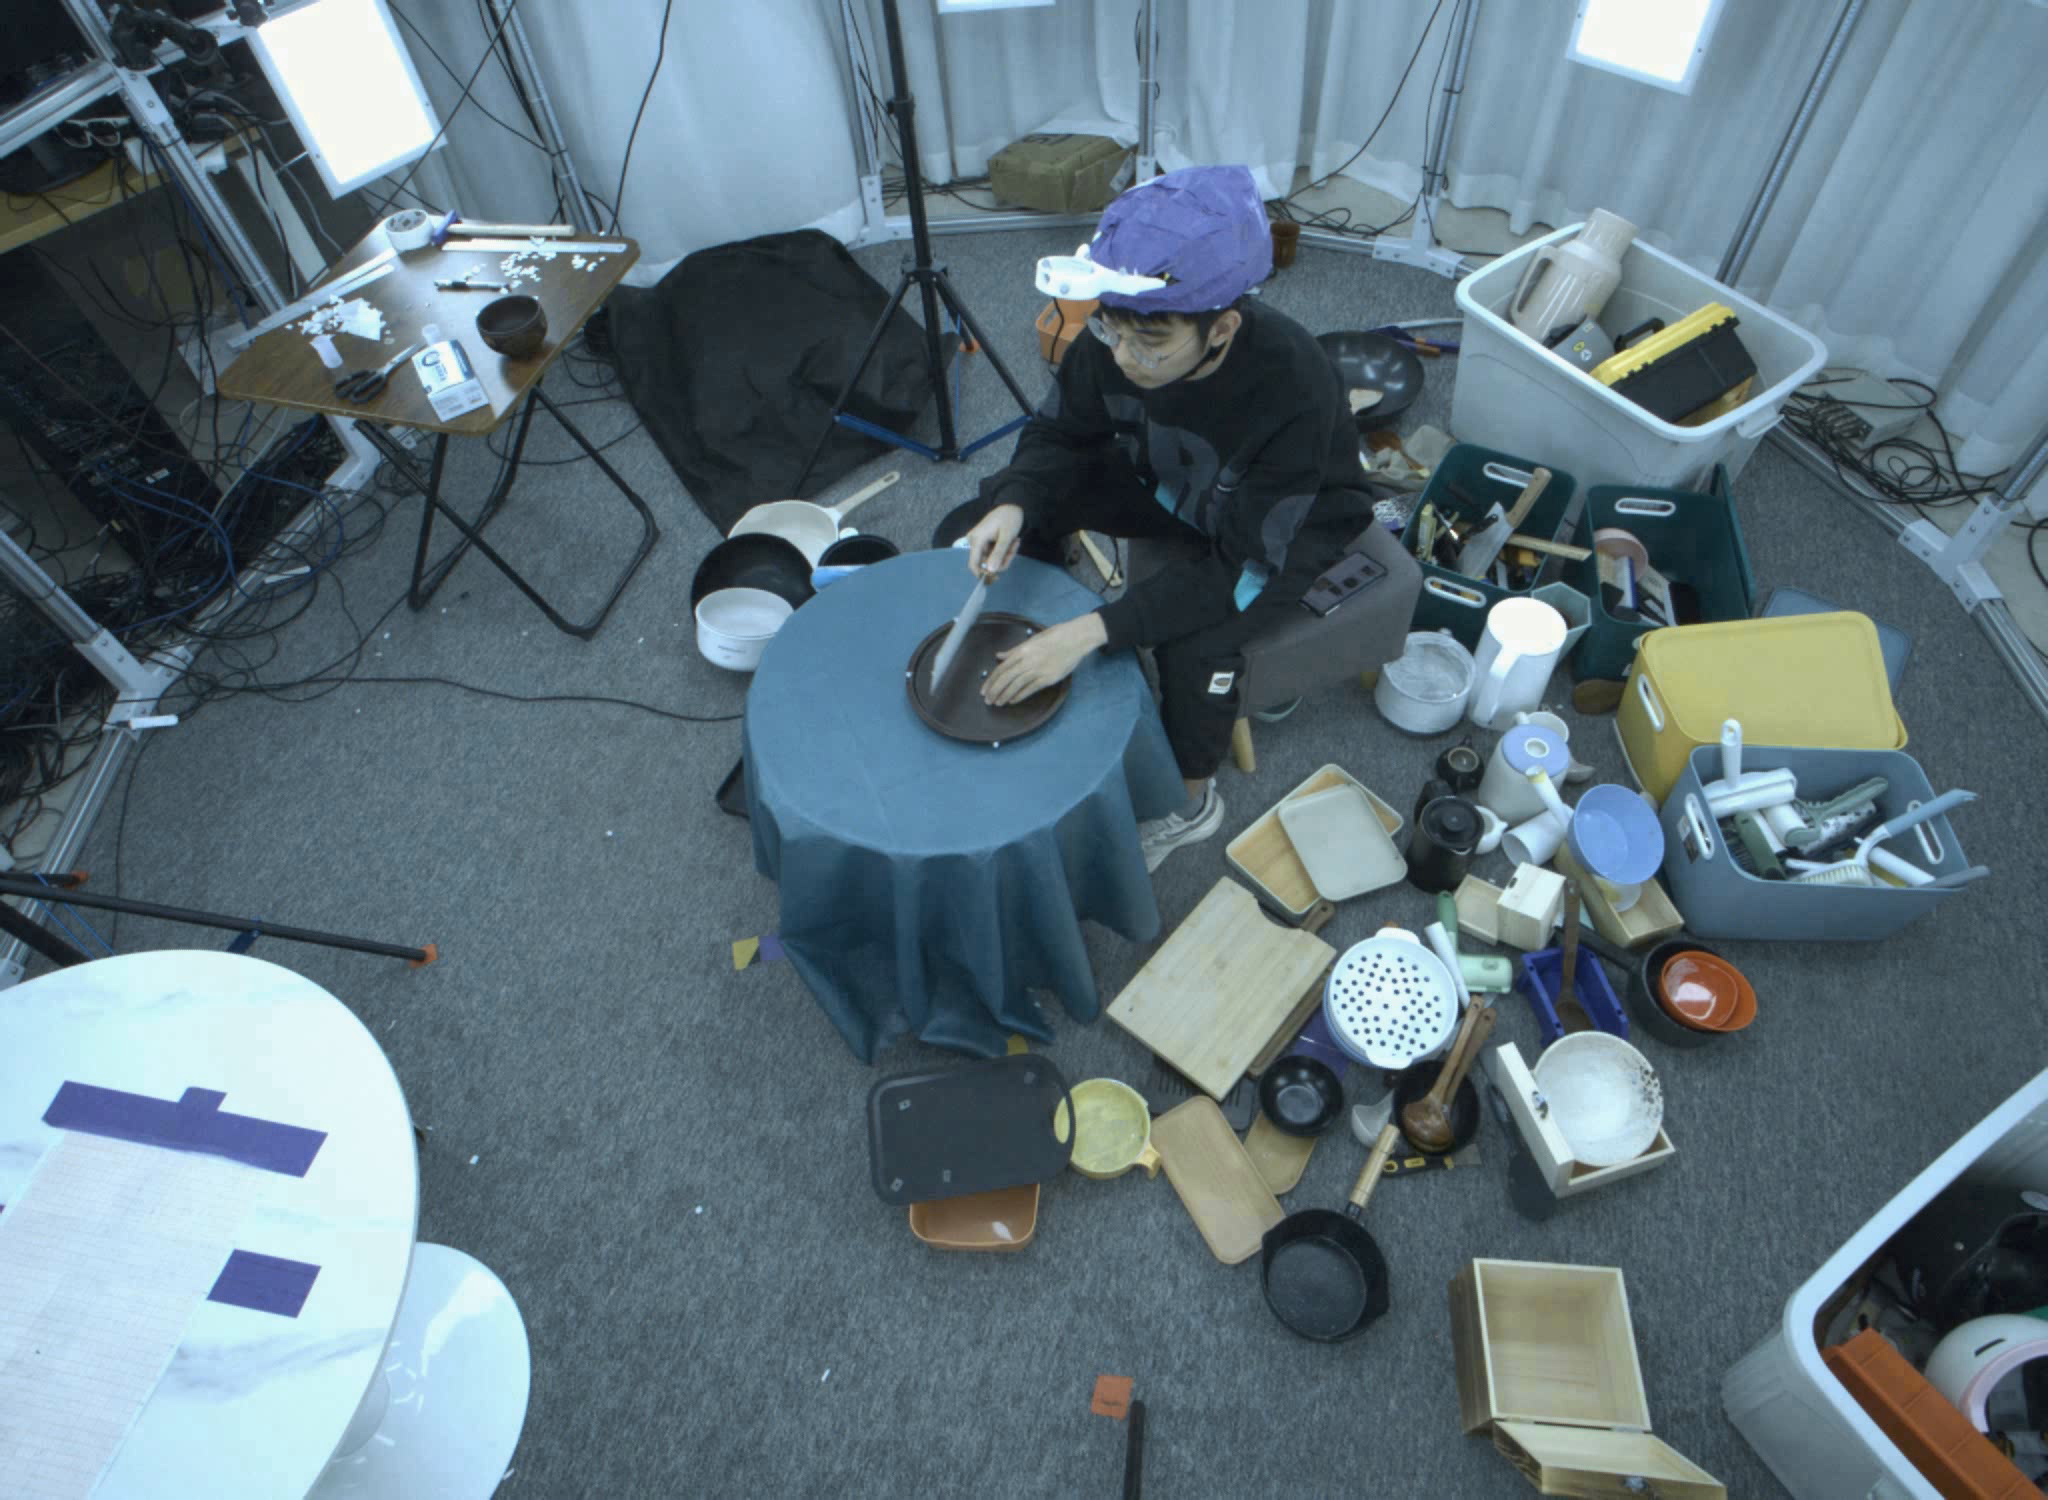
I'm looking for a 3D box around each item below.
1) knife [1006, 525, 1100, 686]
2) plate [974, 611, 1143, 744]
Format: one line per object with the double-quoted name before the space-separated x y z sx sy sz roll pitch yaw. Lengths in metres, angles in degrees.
"knife" 0.042 -0.216 1.841 0.021 0.093 0.306 24 57 9
"plate" 0.052 -0.110 1.847 0.254 0.029 0.252 -2 55 3
